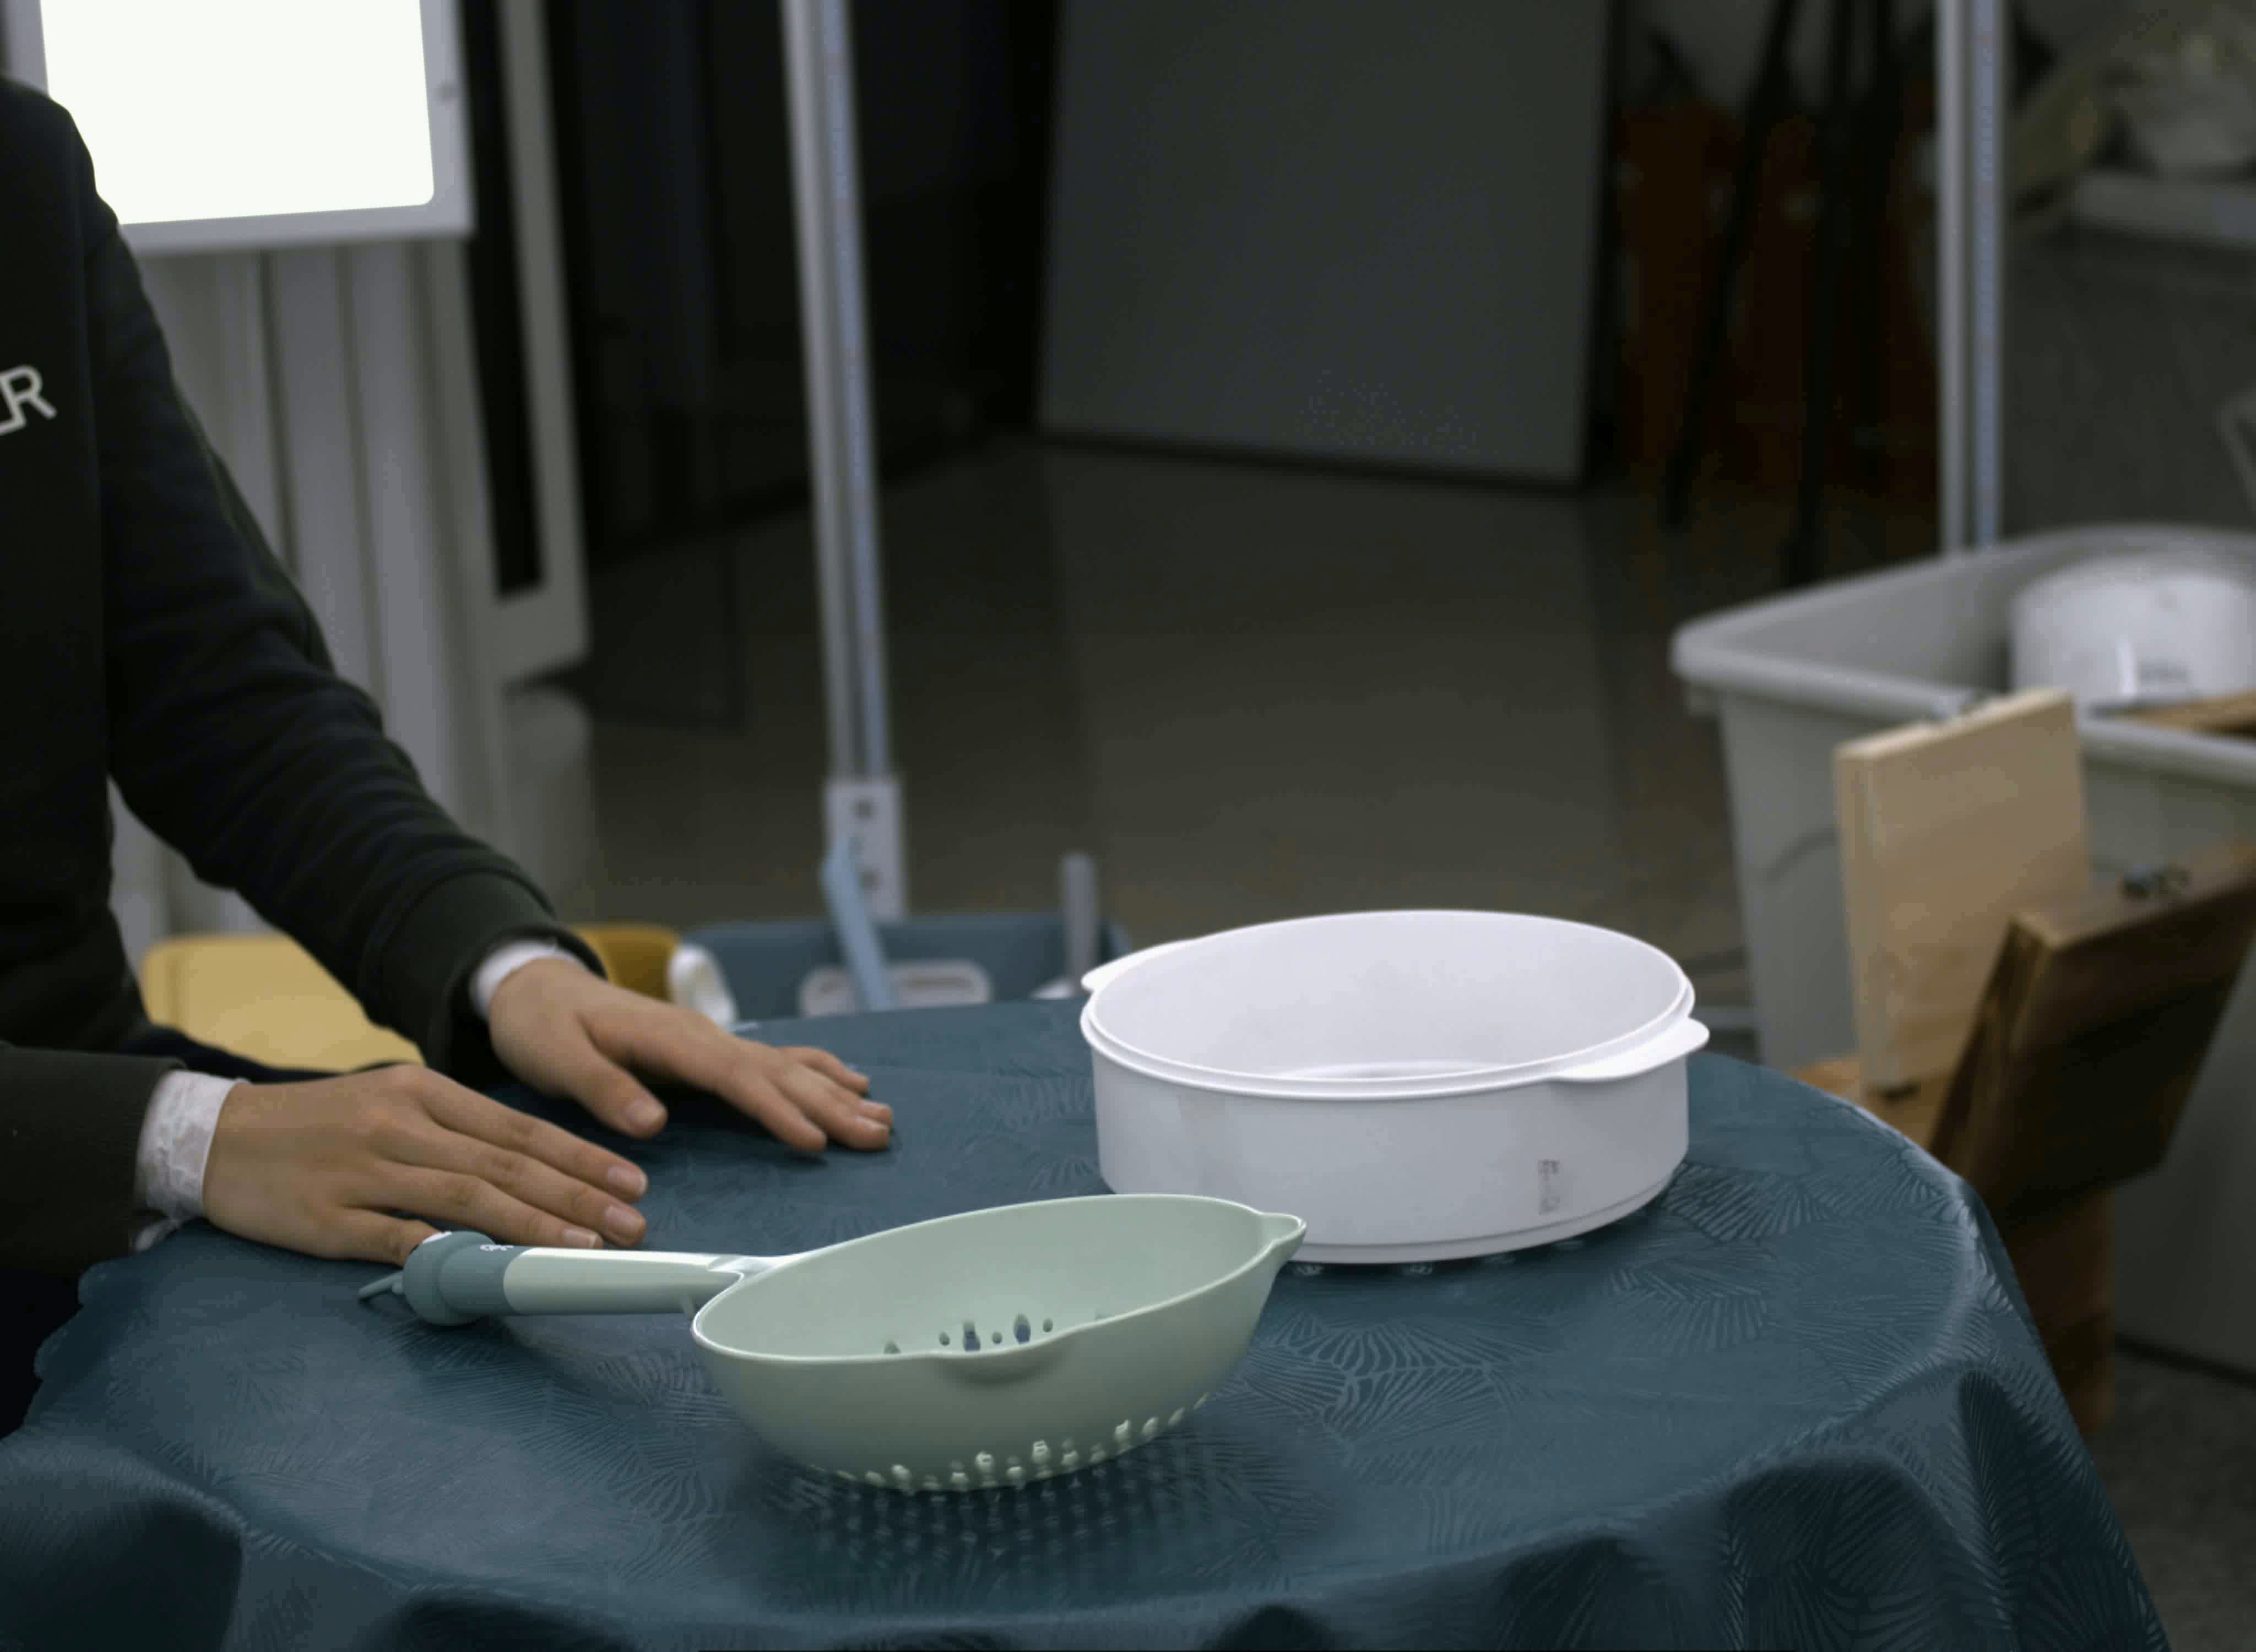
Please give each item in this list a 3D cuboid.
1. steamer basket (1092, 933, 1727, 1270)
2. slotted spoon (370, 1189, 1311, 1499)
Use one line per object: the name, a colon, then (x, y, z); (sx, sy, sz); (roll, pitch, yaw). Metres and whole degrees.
steamer basket: (0.090, 0.089, 1.747); (0.232, 0.070, 0.198); (6, 15, 40)
slotted spoon: (-0.108, 0.141, 1.589); (0.362, 0.076, 0.166); (9, 18, 42)
